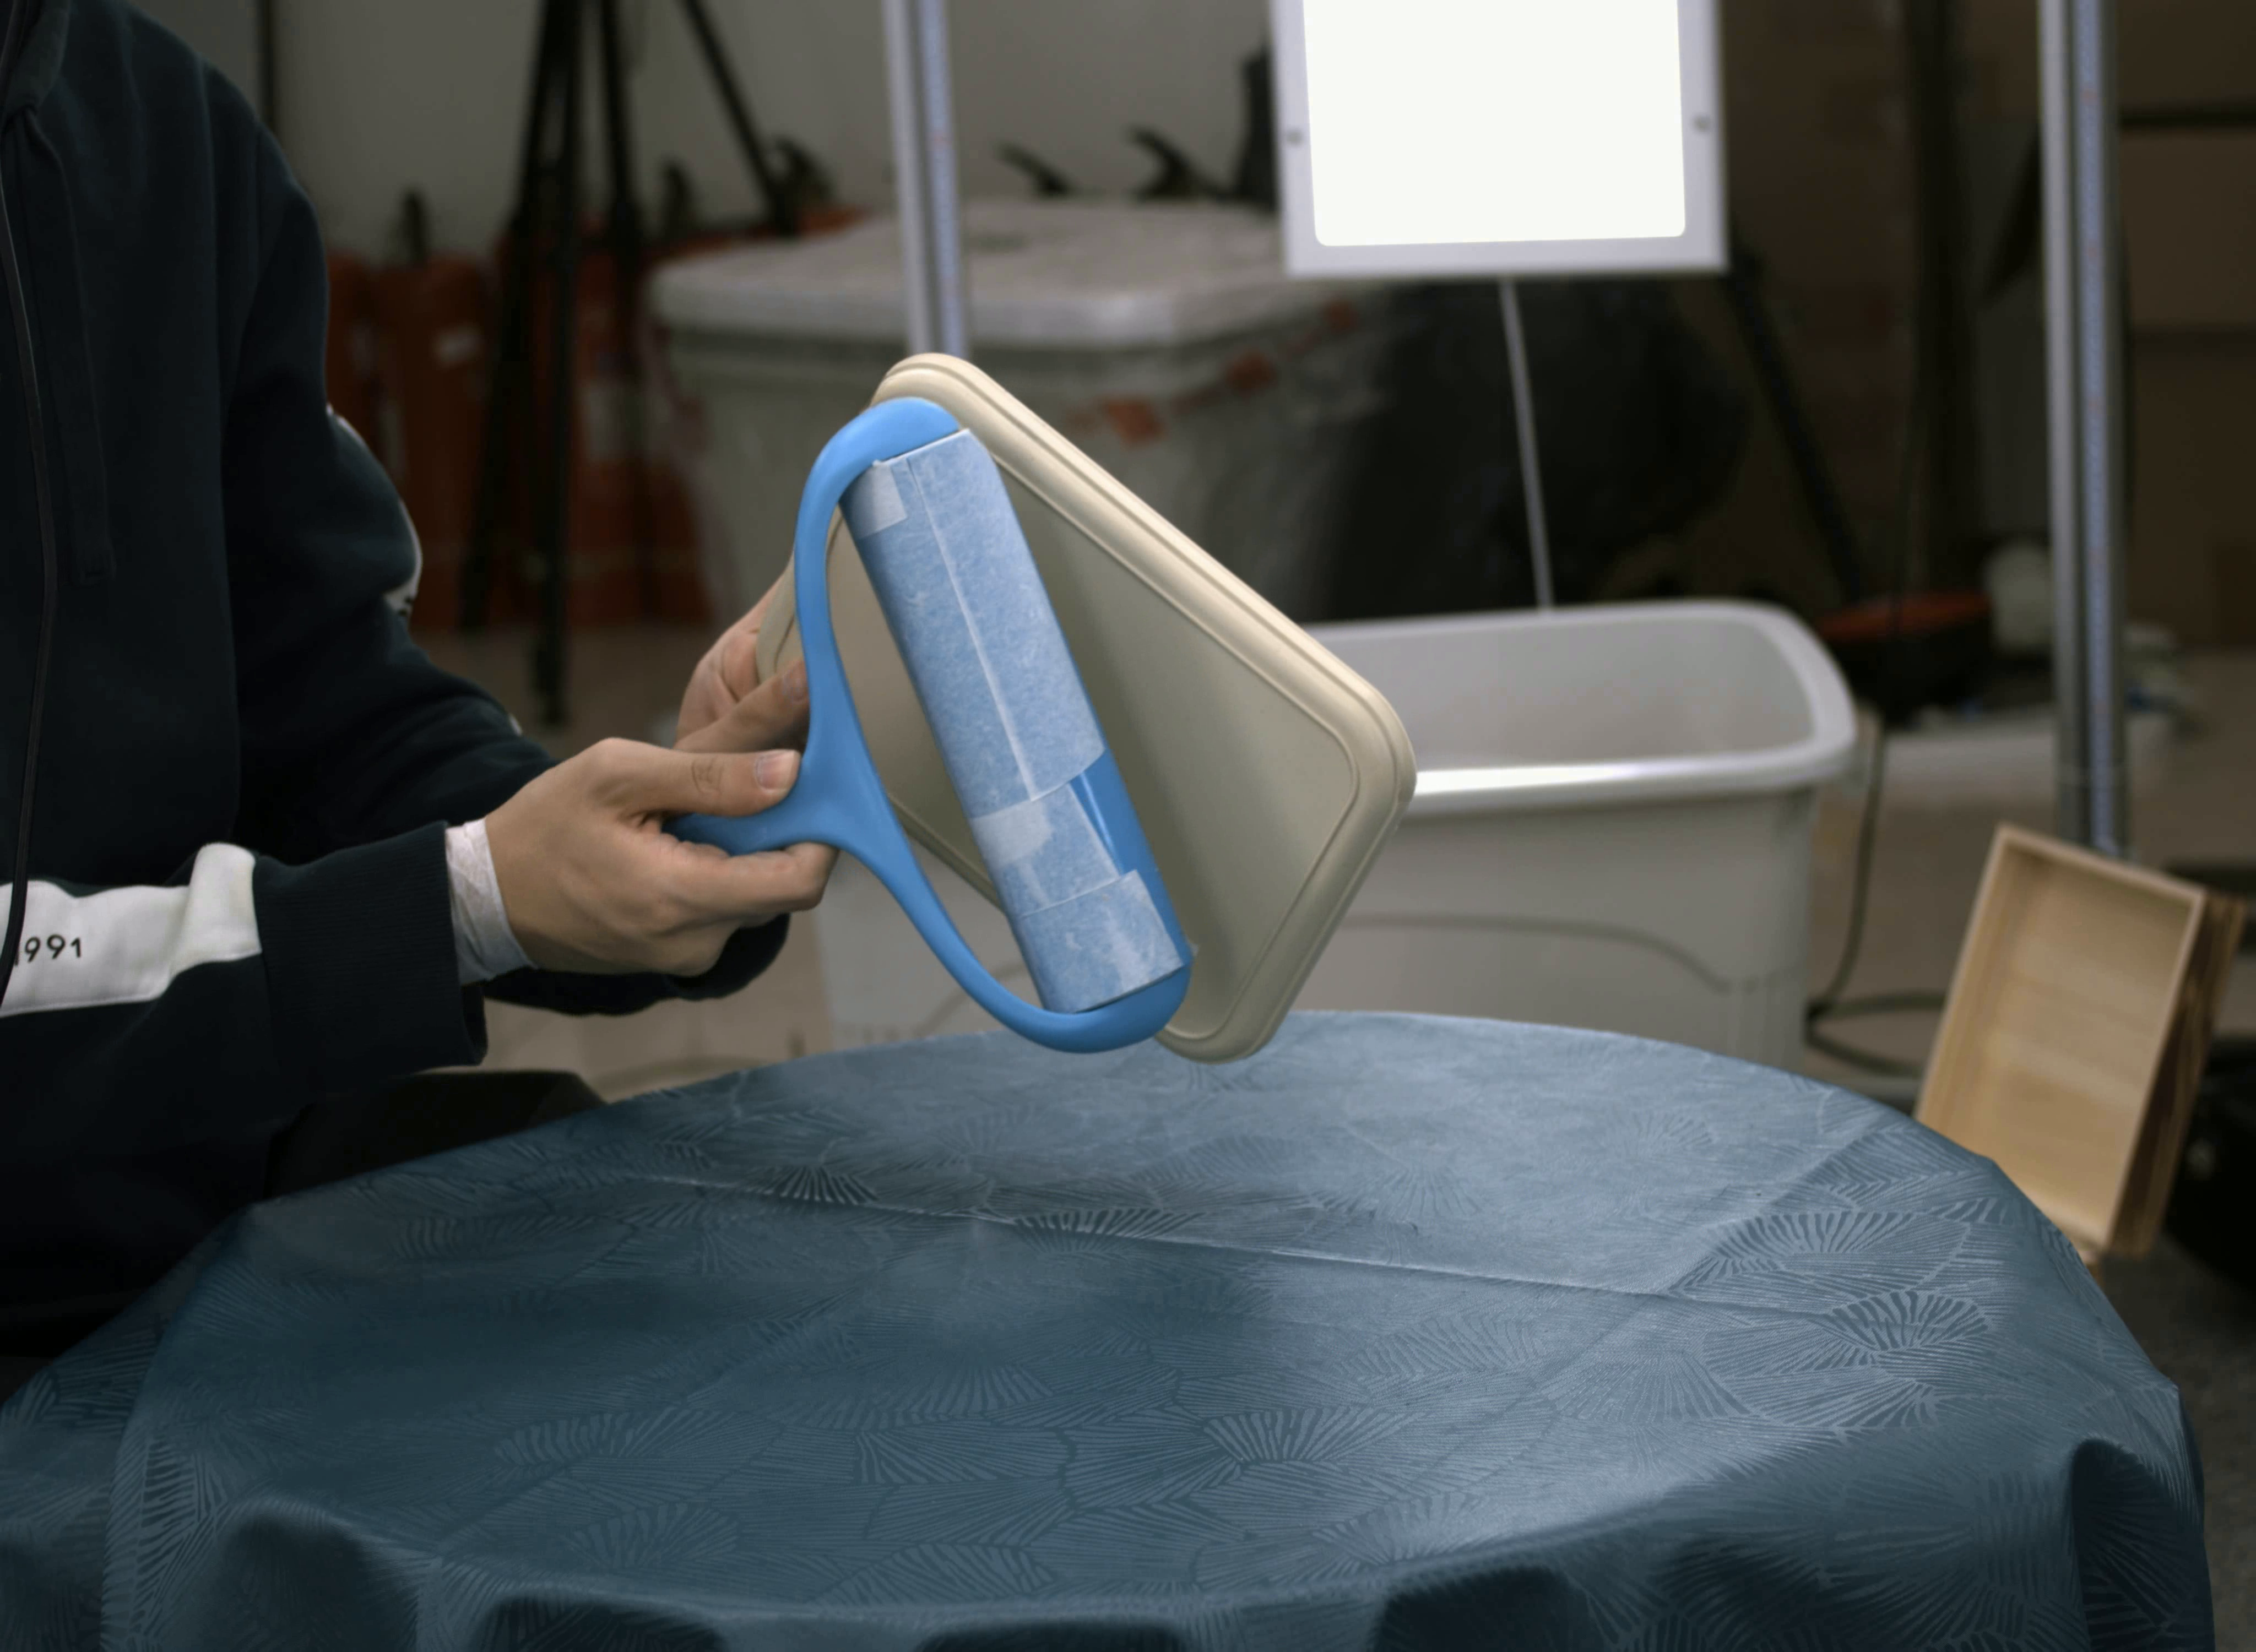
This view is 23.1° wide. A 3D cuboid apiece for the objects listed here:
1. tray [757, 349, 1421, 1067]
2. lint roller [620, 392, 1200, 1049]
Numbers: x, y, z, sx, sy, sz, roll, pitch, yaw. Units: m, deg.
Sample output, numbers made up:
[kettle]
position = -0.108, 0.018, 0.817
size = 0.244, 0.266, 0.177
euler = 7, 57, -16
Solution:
[tray]
position = -0.019, -0.038, 1.876
size = 0.241, 0.174, 0.017
euler = 39, 37, 16
[lint roller]
position = -0.091, -0.011, 1.833
size = 0.181, 0.229, 0.067
euler = -25, 4, 11
